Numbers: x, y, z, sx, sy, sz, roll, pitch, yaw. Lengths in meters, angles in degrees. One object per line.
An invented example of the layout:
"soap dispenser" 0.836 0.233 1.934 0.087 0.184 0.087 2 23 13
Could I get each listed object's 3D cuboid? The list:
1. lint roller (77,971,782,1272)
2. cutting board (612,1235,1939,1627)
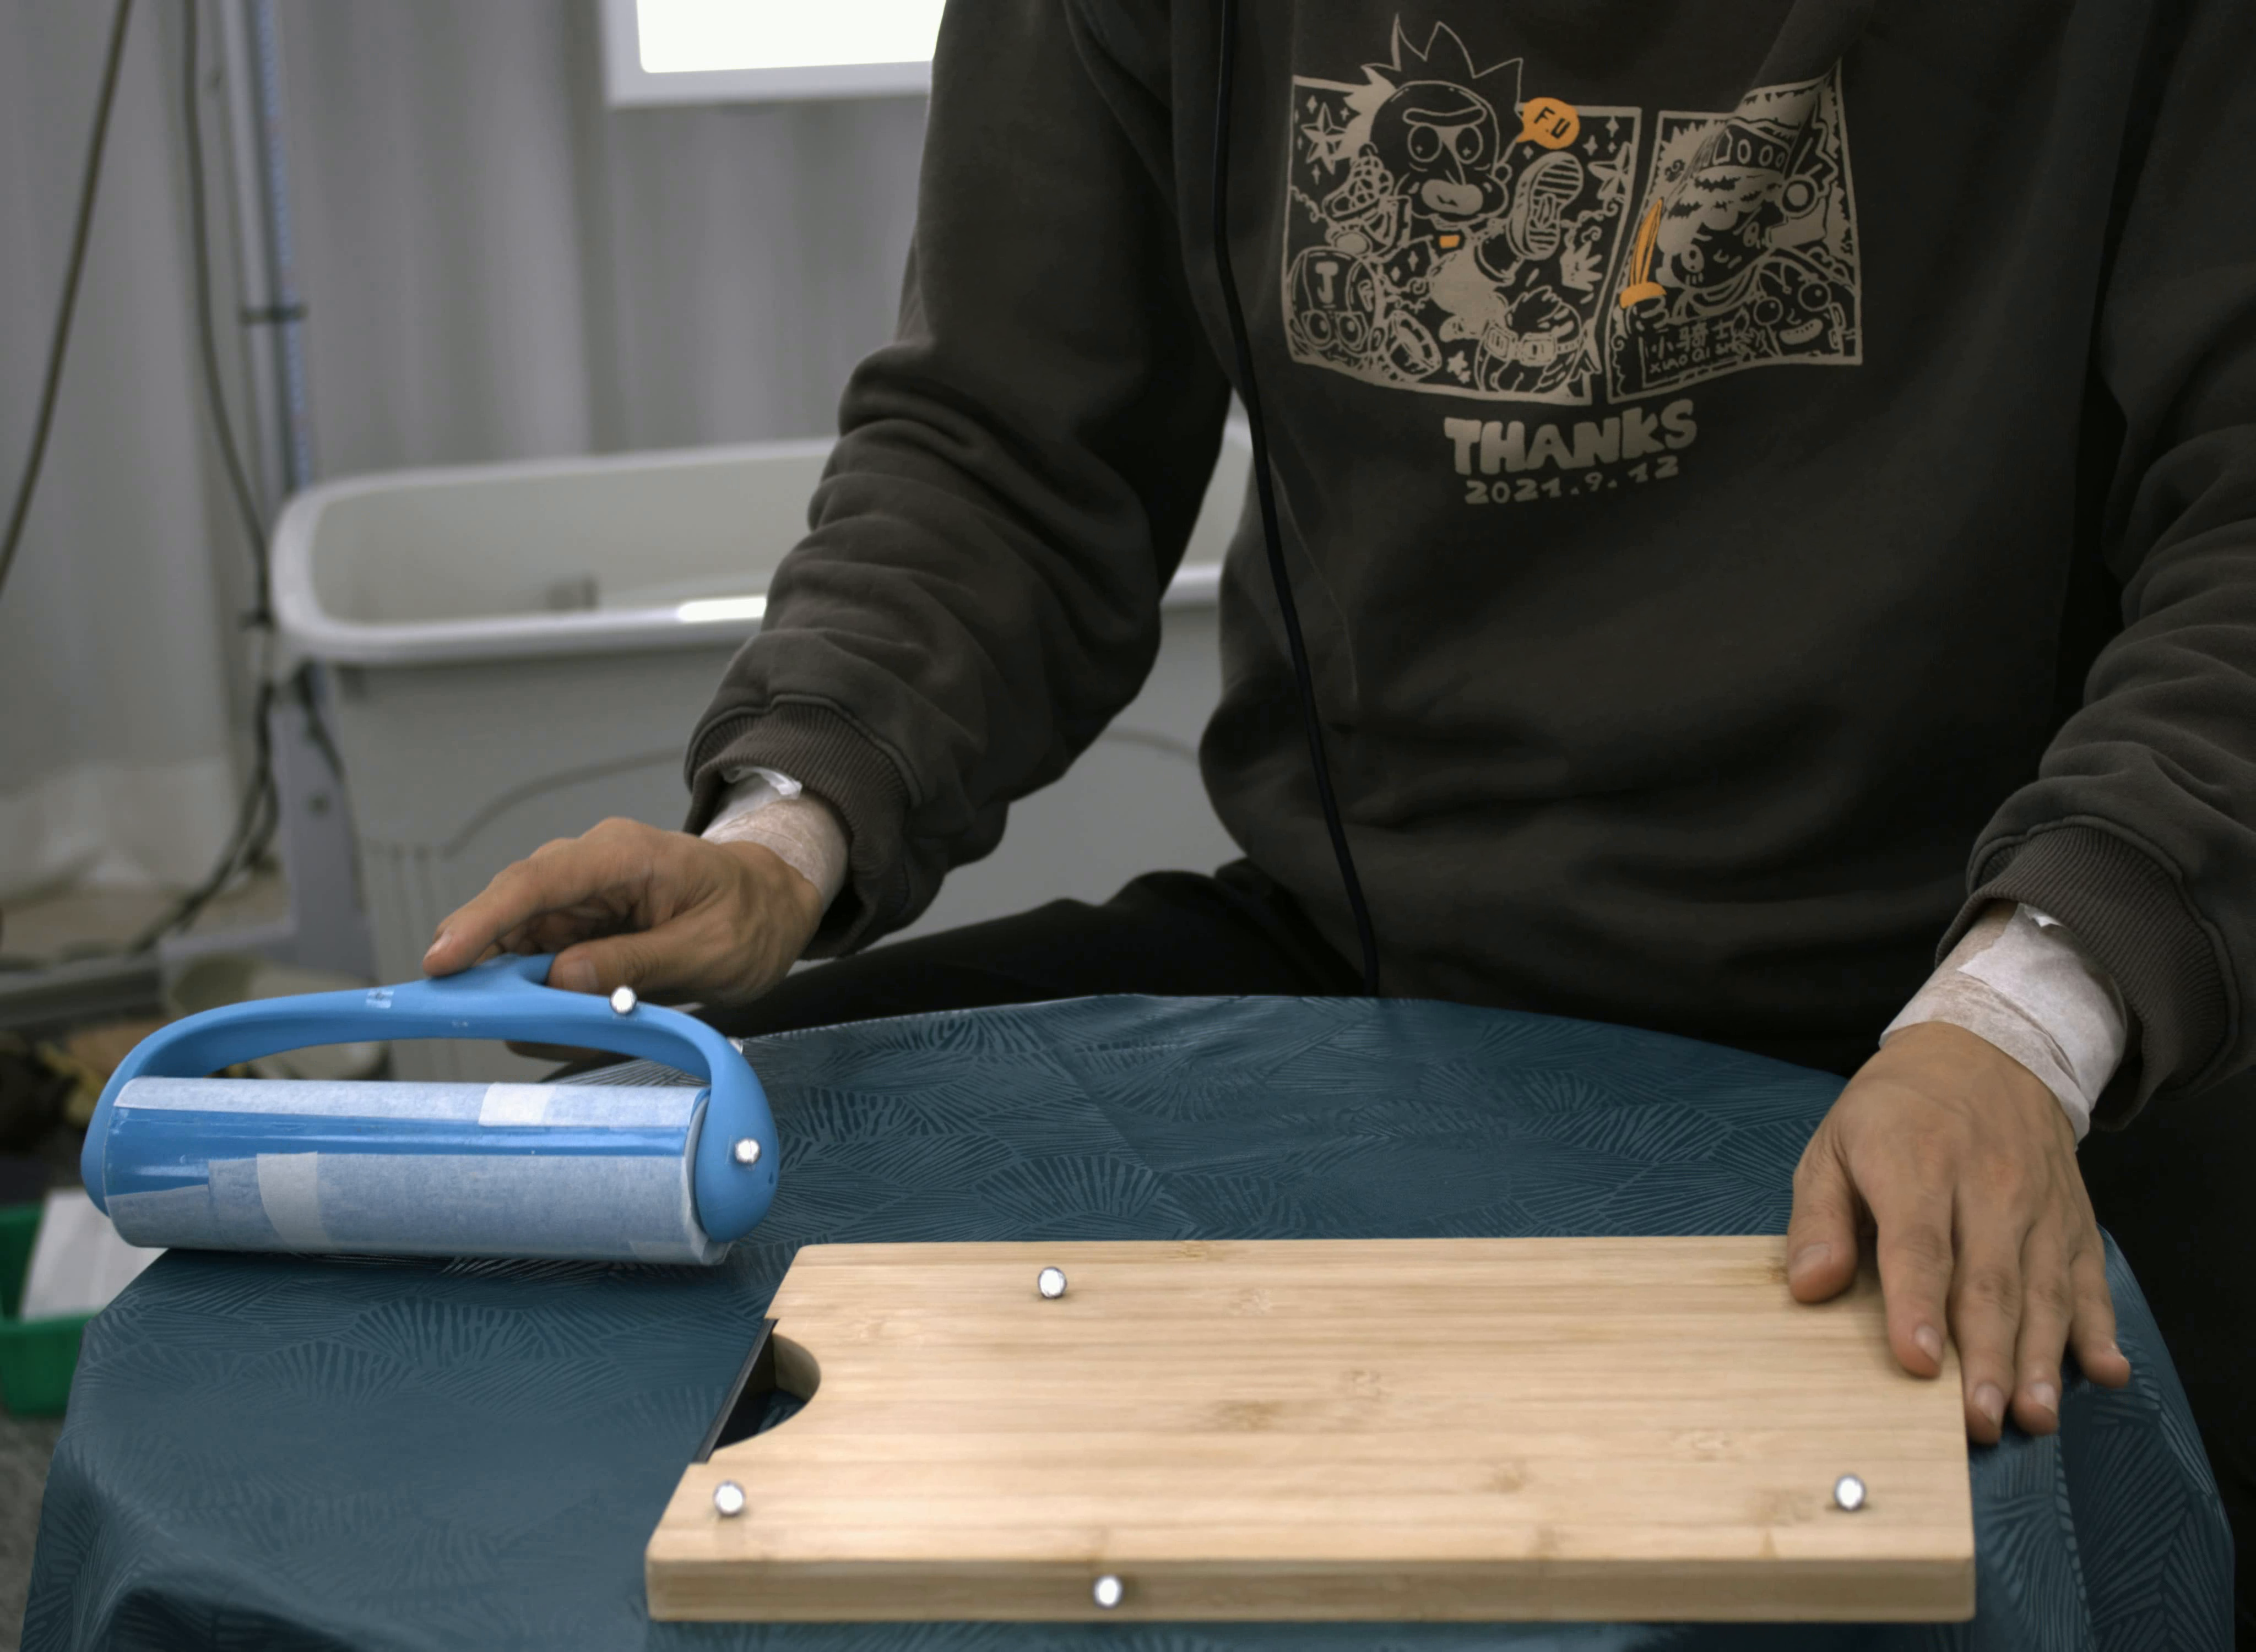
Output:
"lint roller" -0.205 0.080 1.736 0.228 0.067 0.182 -3 27 14
"cutting board" 0.051 0.163 1.501 0.348 0.023 0.252 -1 15 7
